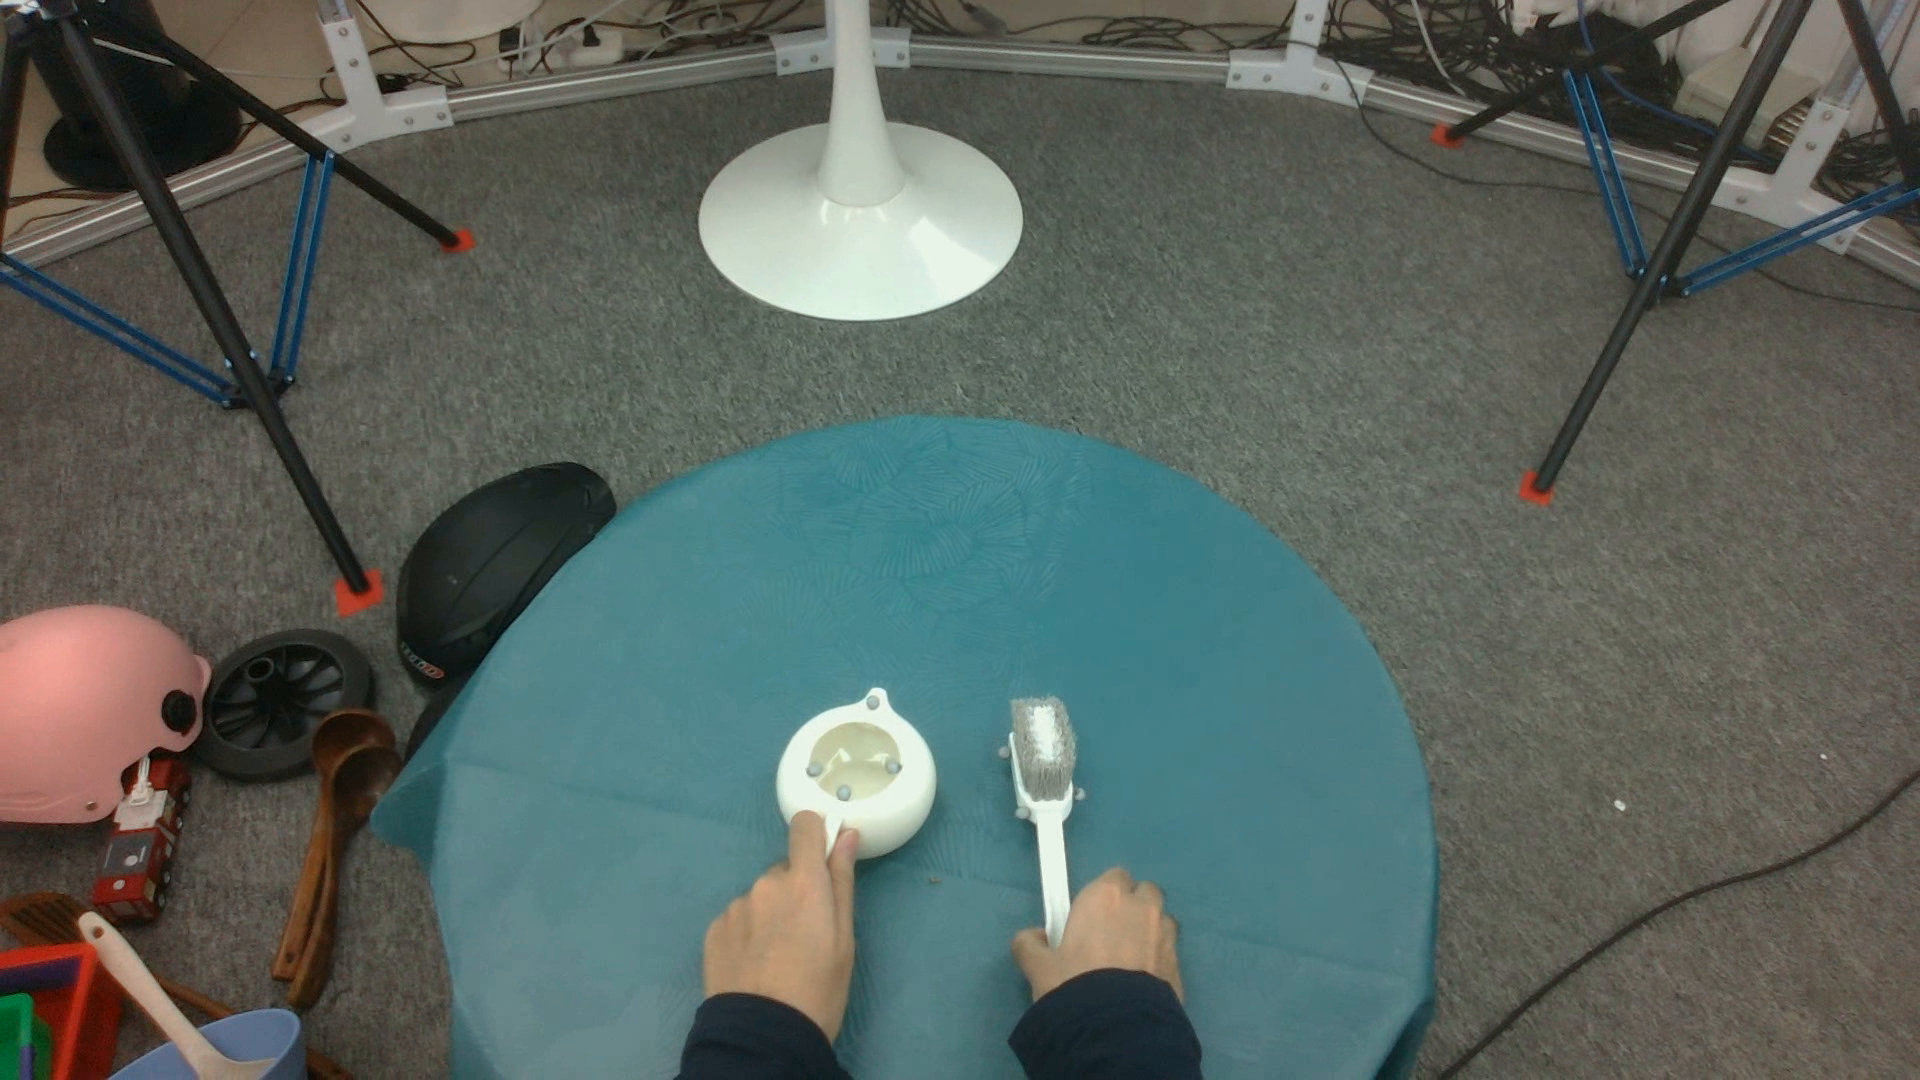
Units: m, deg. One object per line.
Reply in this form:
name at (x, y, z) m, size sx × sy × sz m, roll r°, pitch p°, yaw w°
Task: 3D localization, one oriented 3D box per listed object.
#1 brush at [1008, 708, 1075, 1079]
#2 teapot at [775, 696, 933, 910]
brush at (0.051, 0.201, 0.779) m, size 0.034 × 0.050 × 0.245 m, roll 4°, pitch 49°, yaw -6°
teapot at (-0.065, 0.156, 0.811) m, size 0.093 × 0.056 × 0.128 m, roll 11°, pitch 51°, yaw 2°
